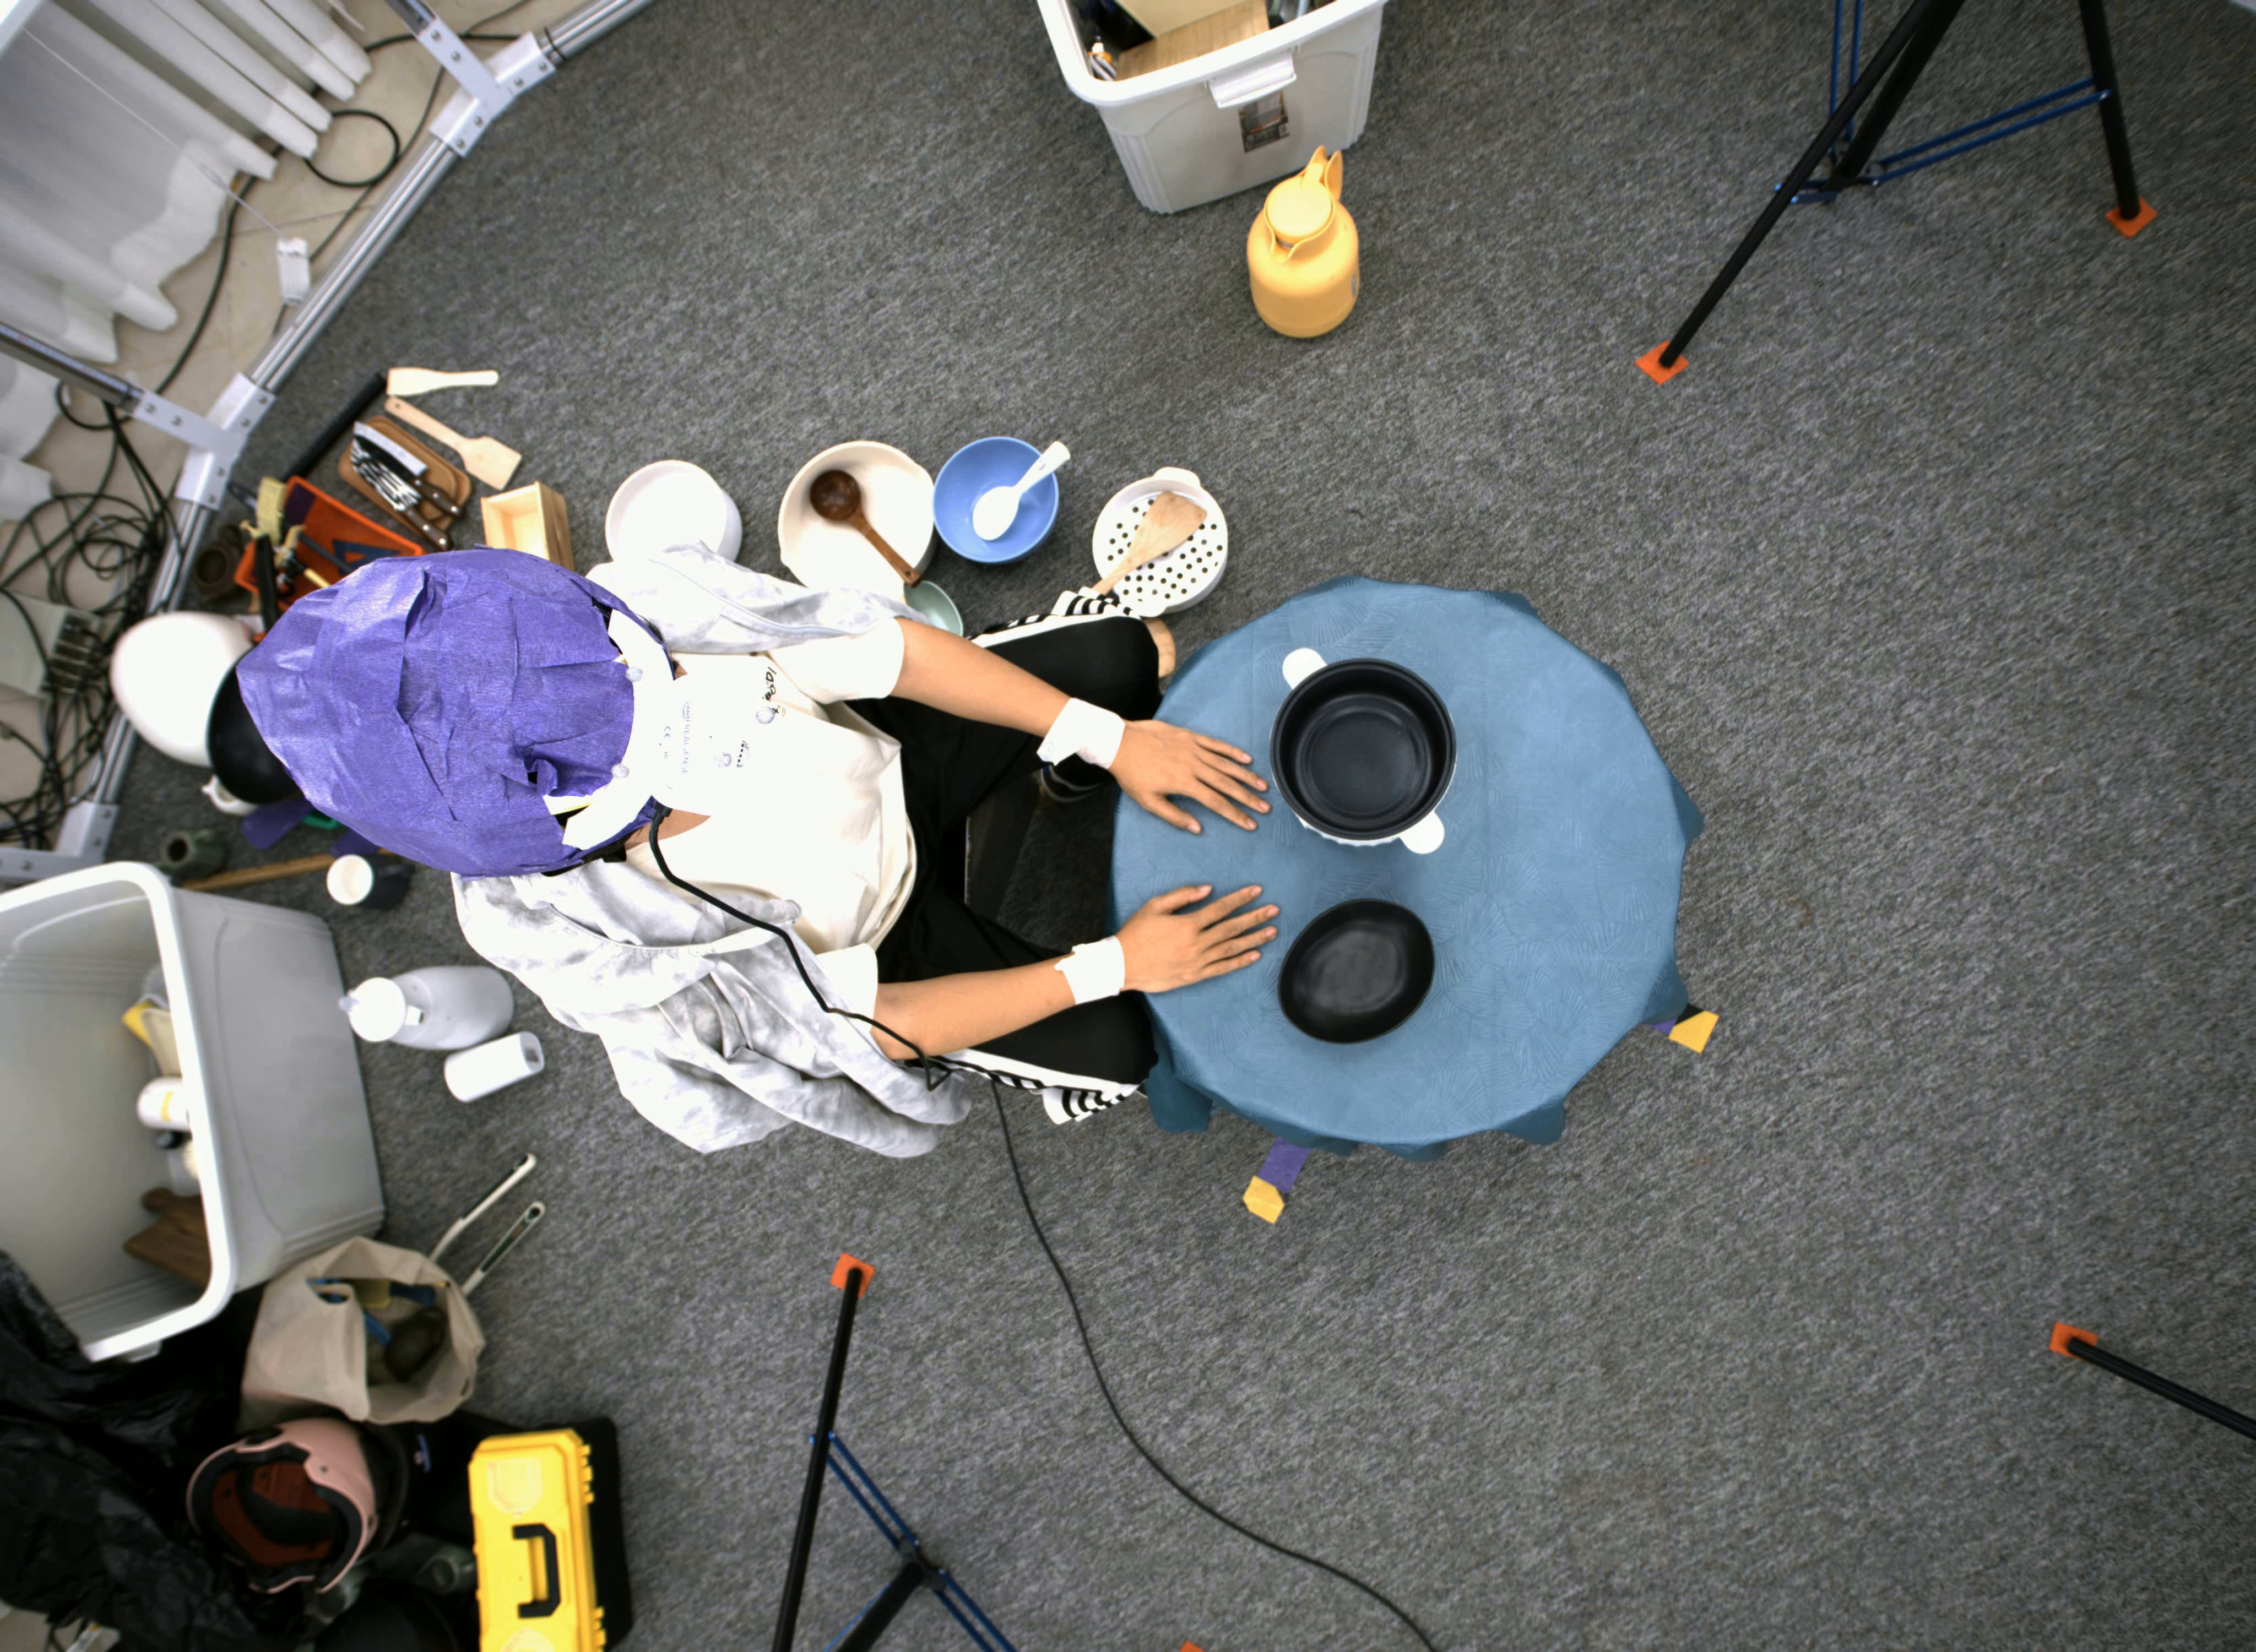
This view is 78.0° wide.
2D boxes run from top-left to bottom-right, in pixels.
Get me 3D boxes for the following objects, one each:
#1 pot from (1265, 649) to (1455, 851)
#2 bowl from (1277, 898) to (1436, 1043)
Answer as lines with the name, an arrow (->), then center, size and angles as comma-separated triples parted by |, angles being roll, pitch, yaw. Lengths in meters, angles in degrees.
pot -> 0.241, -0.075, 1.401 | 0.192, 0.142, 0.239 | -37, 81, 9
bowl -> 0.237, 0.150, 1.427 | 0.171, 0.067, 0.136 | -37, 80, 7
